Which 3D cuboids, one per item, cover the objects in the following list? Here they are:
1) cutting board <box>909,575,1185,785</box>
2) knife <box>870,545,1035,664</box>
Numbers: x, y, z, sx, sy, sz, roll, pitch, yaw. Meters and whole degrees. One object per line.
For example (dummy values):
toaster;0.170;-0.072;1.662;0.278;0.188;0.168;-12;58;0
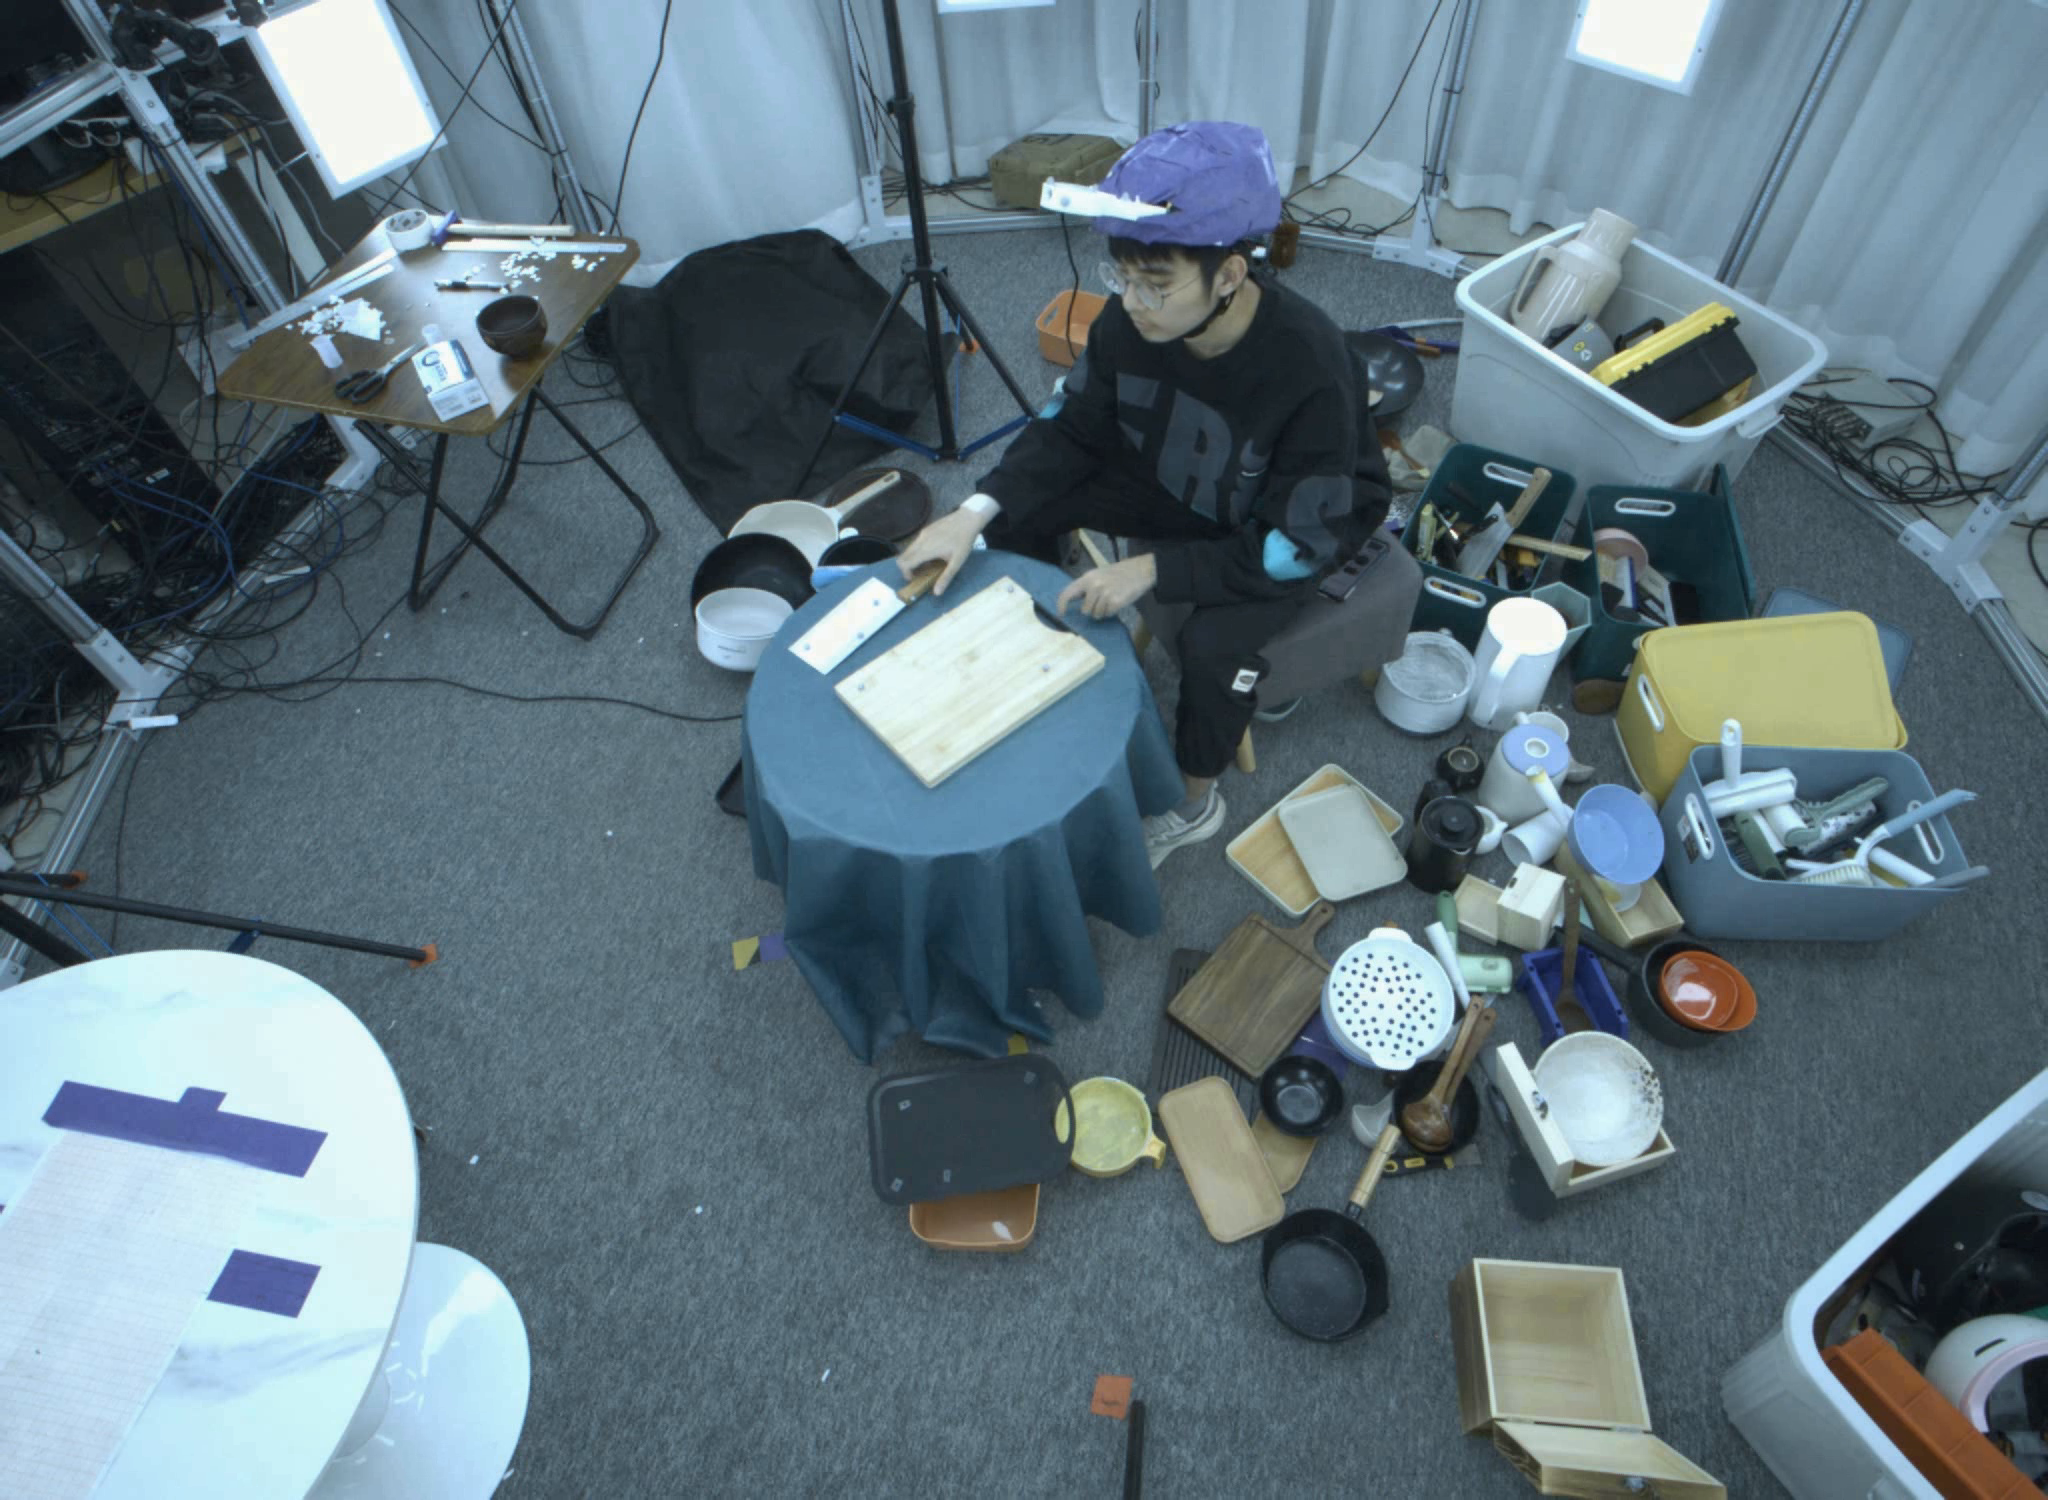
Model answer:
cutting board;0.031;-0.115;1.857;0.351;0.024;0.246;-33;60;-19
knife;-0.118;-0.246;1.956;0.307;0.021;0.091;-40;61;-20
